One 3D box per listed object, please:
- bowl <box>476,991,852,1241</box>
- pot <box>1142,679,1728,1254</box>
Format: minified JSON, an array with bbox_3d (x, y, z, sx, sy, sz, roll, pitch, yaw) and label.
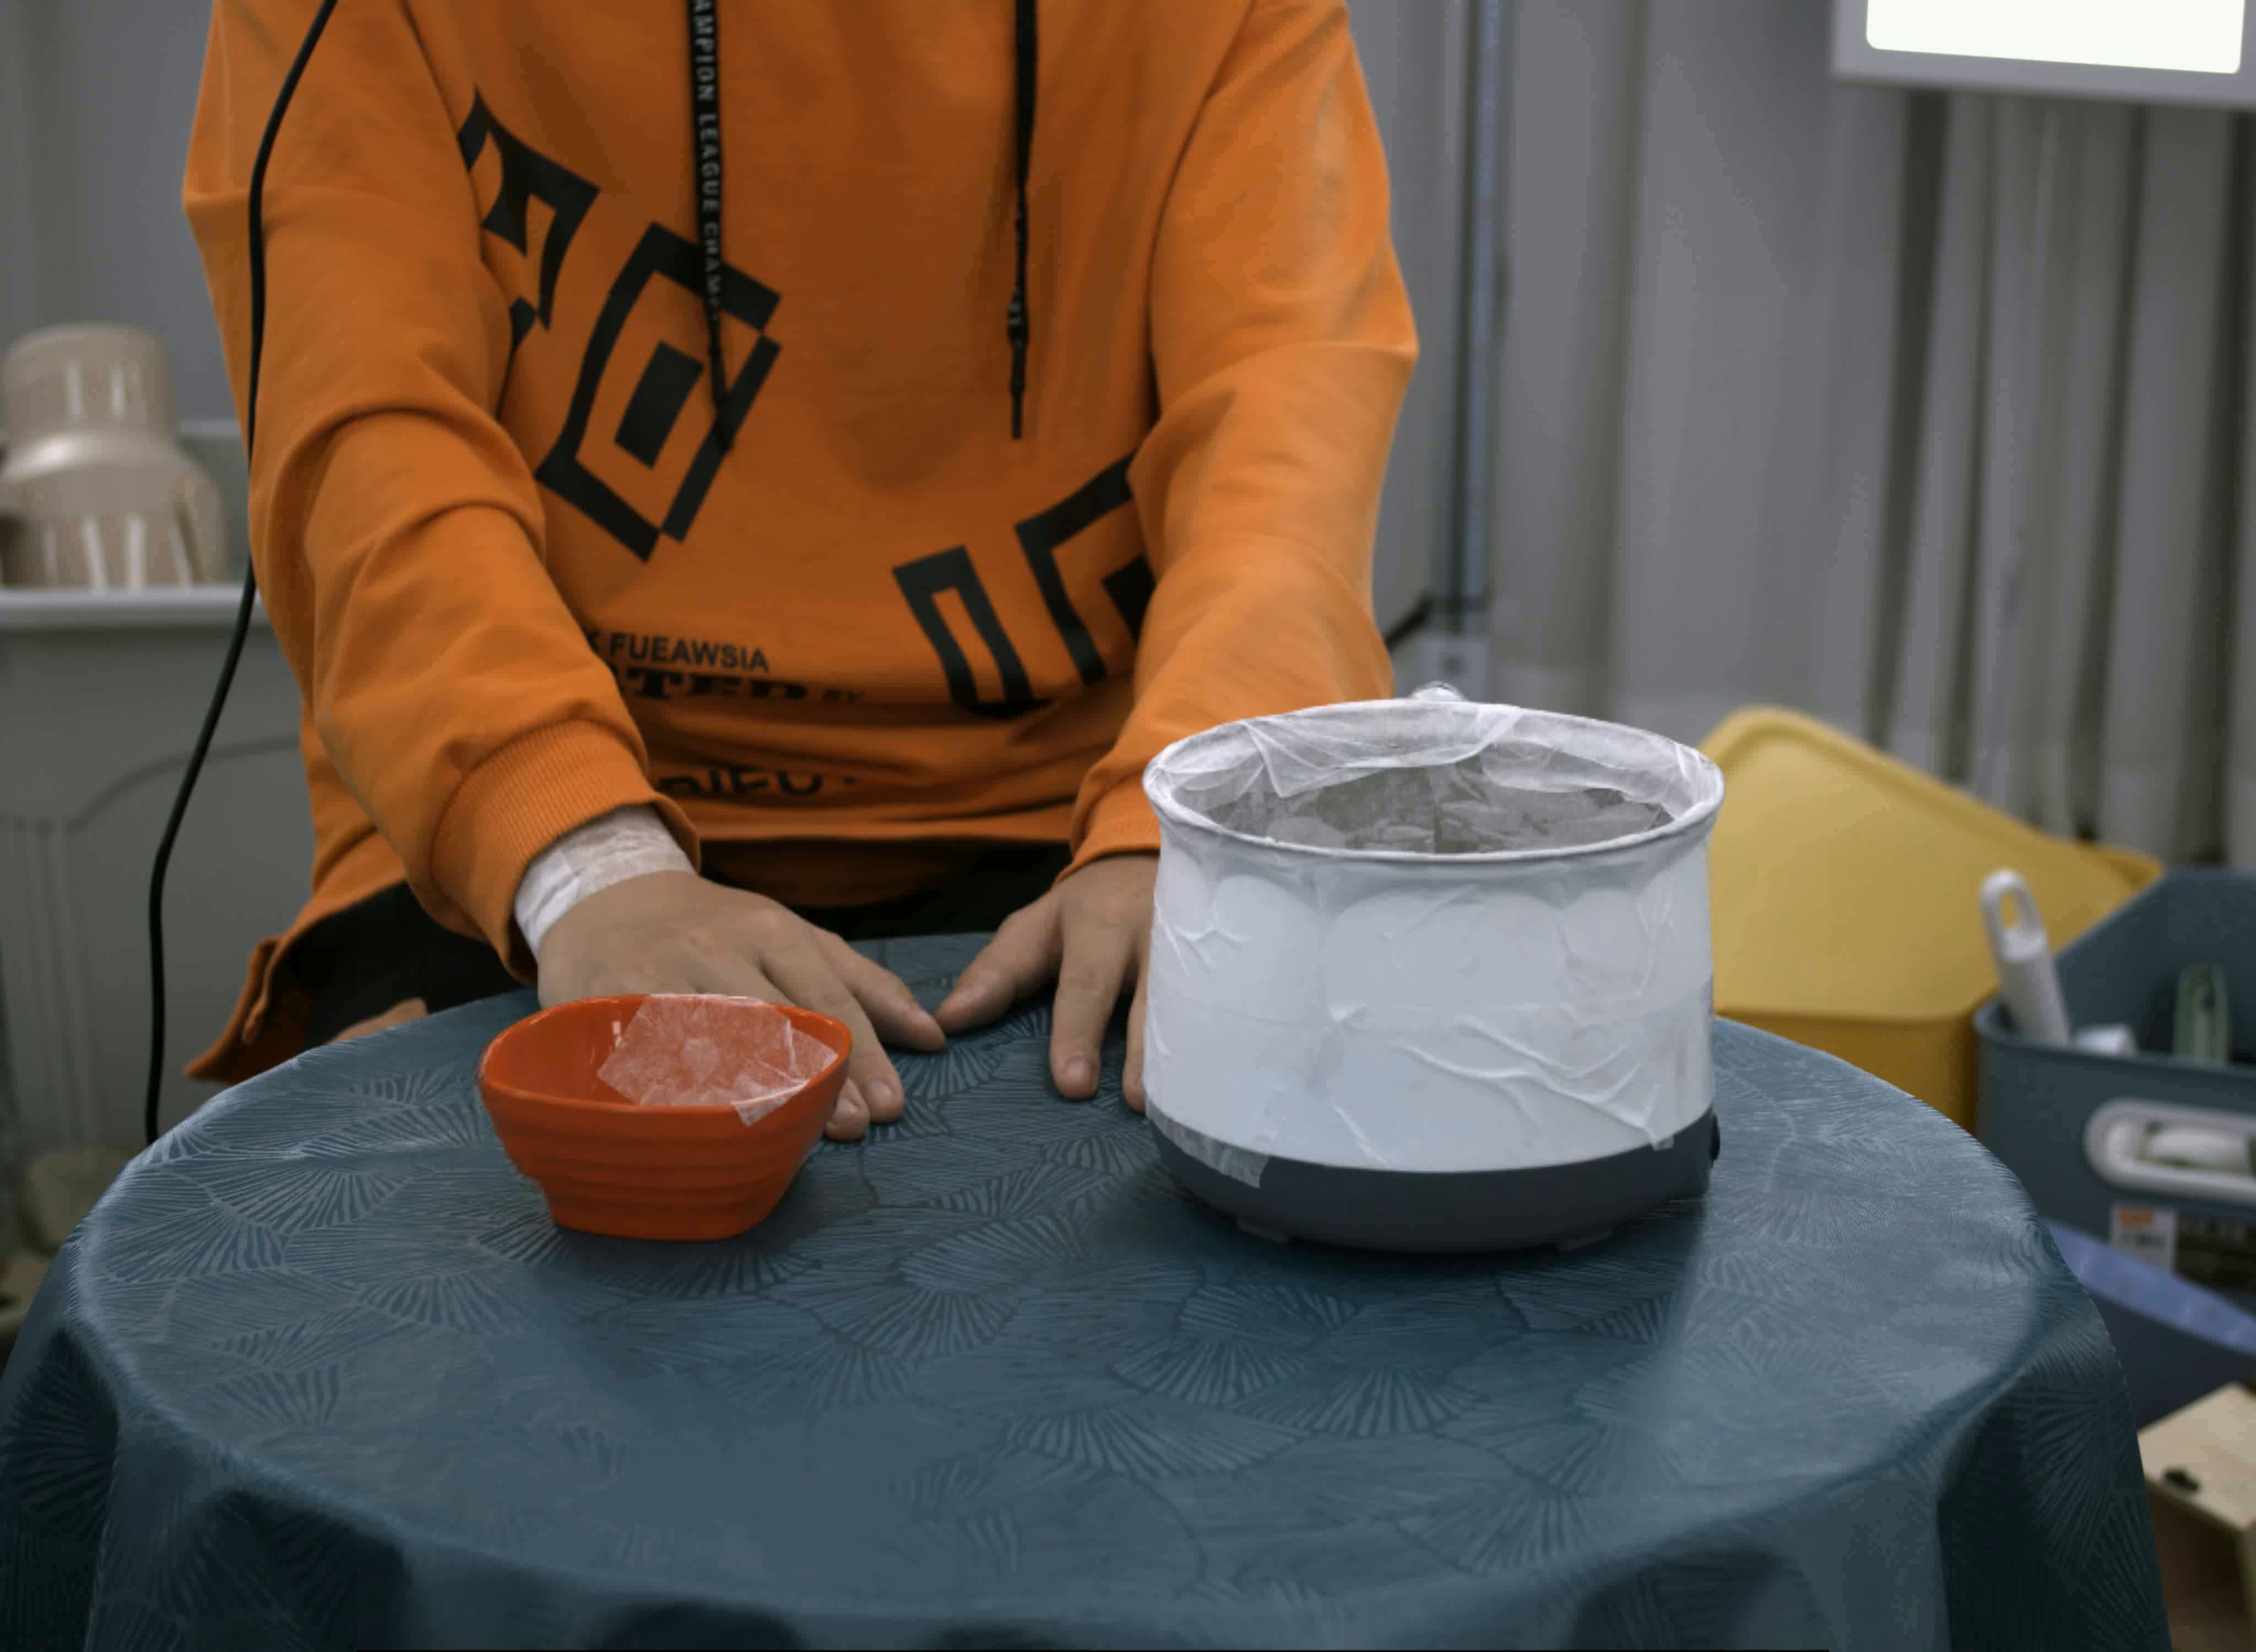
[{"bbox_3d":[-0.140,0.090,1.601,0.118,0.052,0.118,-1,16,1],"label":"bowl"},{"bbox_3d":[0.093,0.038,1.634,0.178,0.138,0.232,1,16,2],"label":"pot"}]
